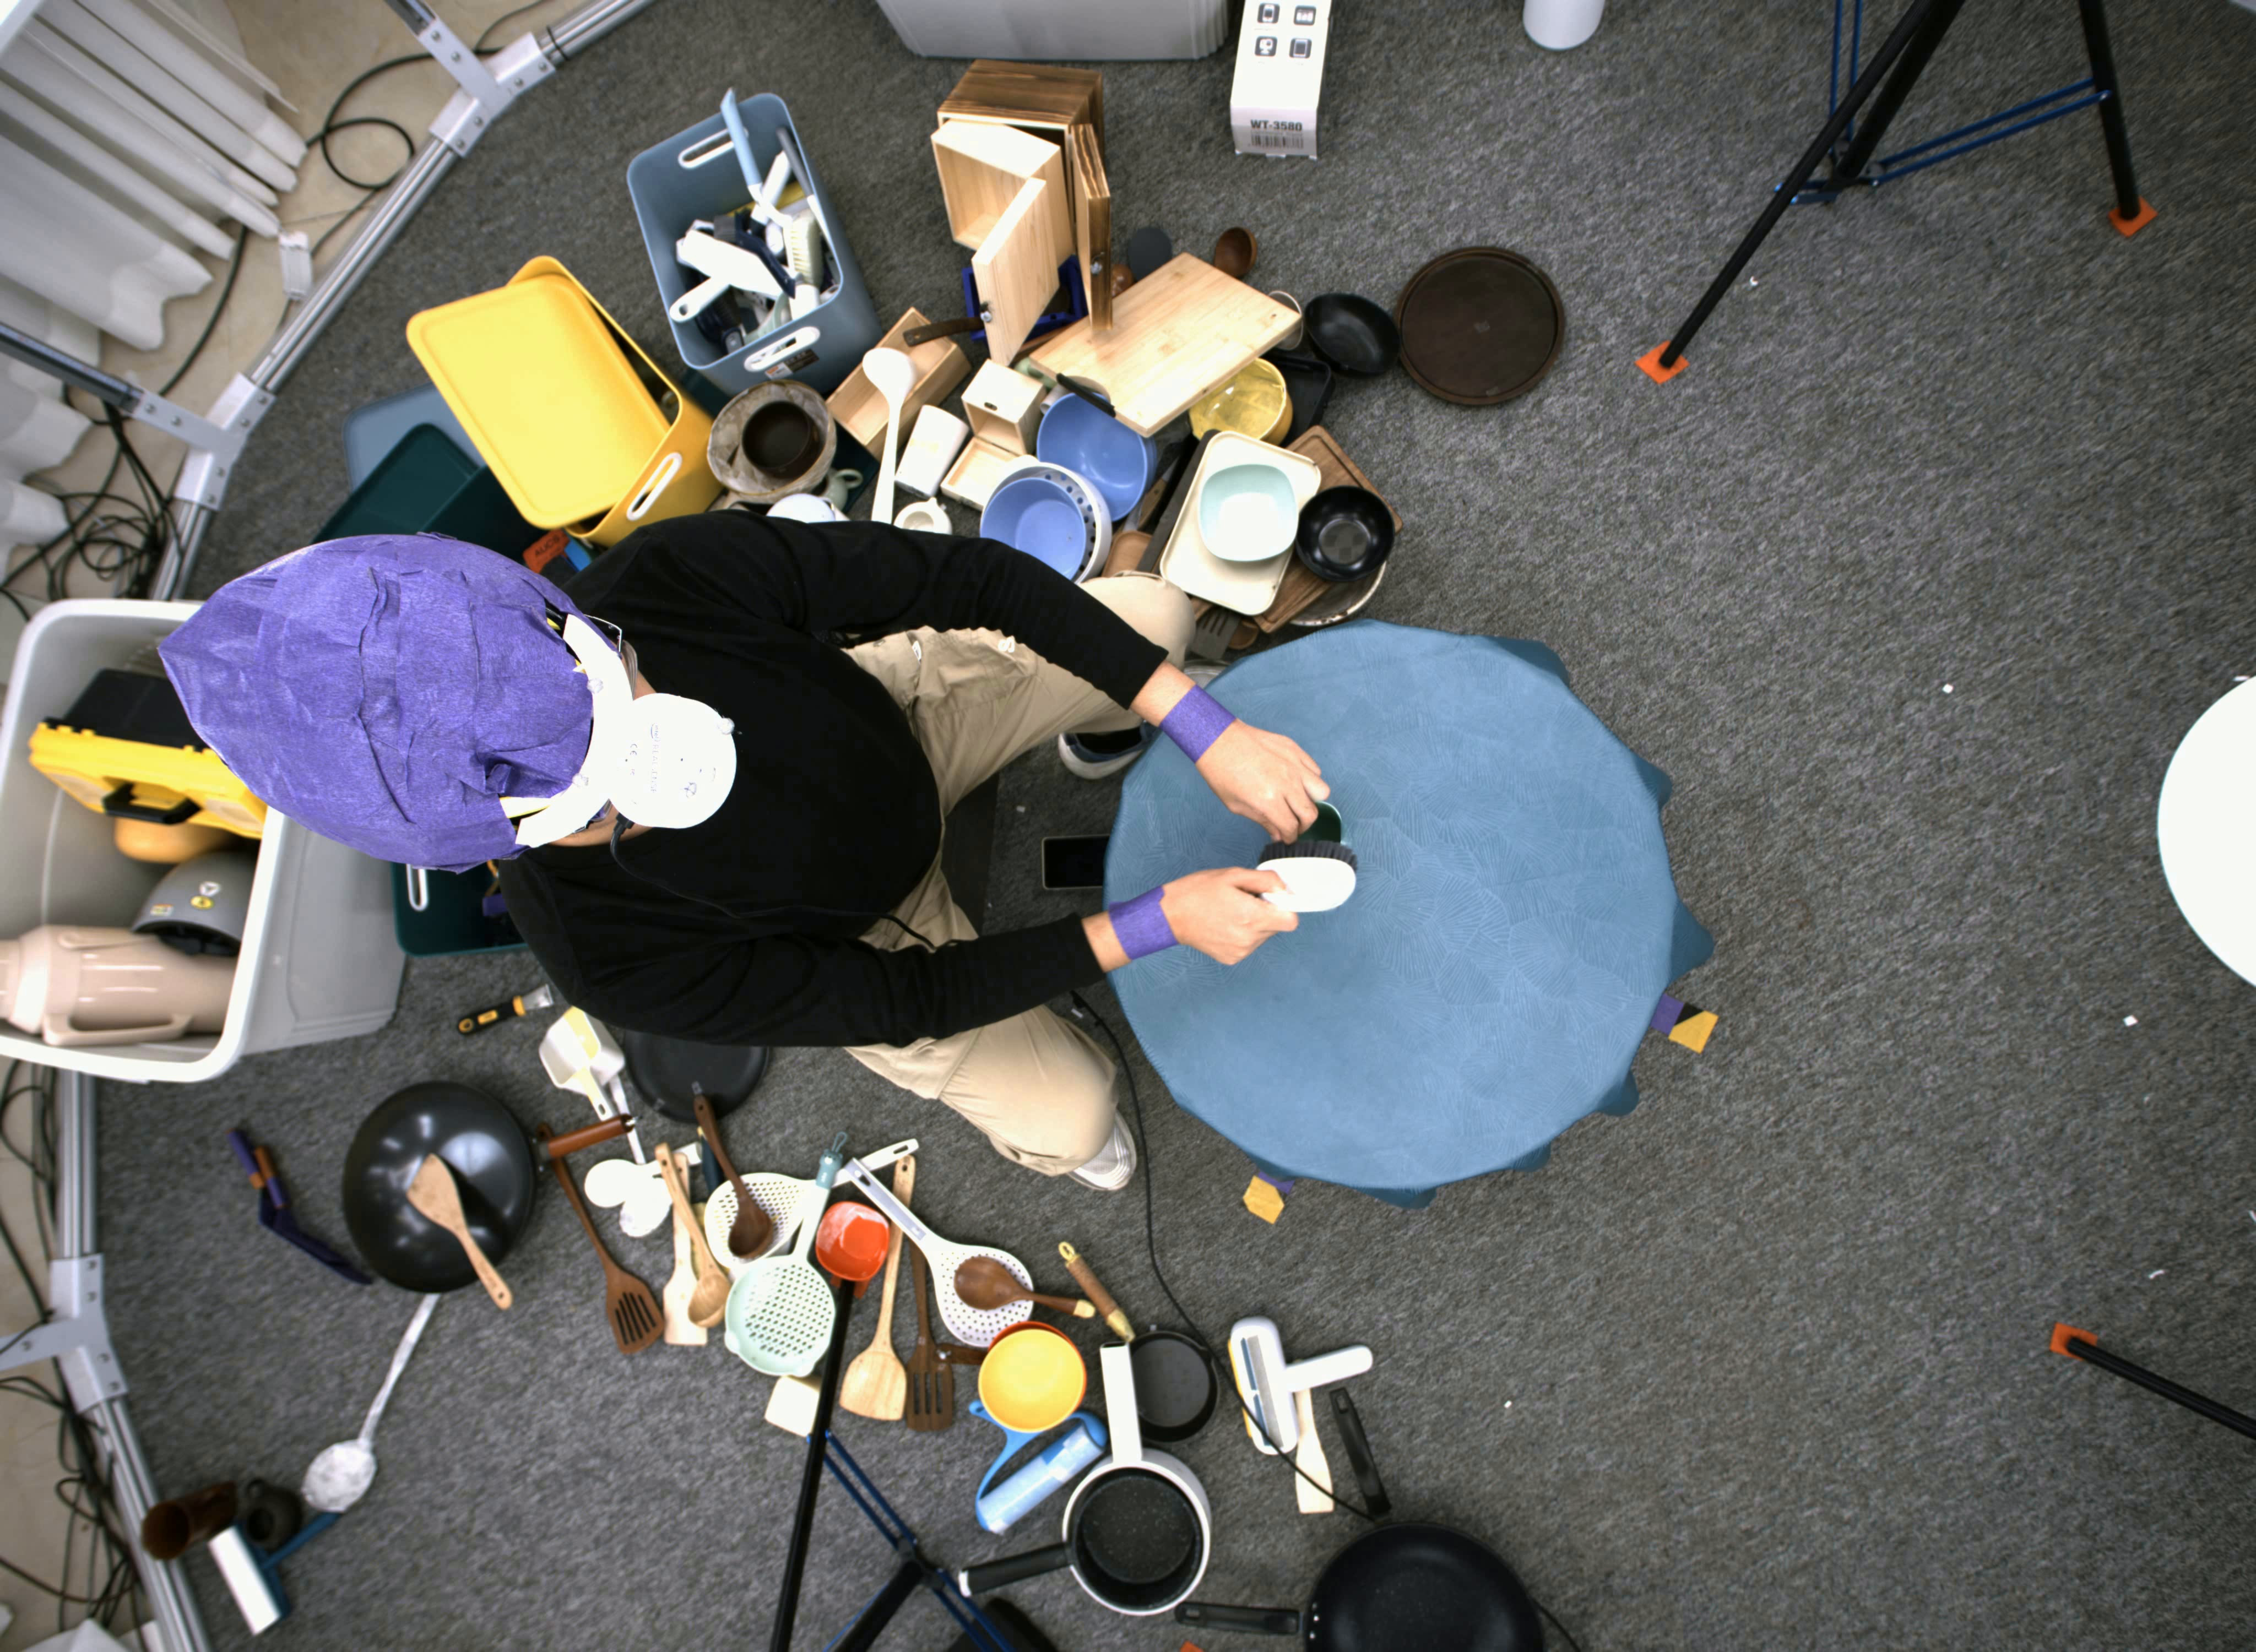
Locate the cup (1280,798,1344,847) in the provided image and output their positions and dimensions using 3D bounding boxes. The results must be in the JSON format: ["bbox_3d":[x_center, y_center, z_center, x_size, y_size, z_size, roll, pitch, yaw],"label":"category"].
[{"bbox_3d":[0.190,0.011,1.414,0.067,0.132,0.066,-1,85,9],"label":"cup"}]

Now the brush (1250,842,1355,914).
[{"bbox_3d":[0.164,0.055,1.320,0.099,0.070,0.051,1,126,15],"label":"brush"}]
